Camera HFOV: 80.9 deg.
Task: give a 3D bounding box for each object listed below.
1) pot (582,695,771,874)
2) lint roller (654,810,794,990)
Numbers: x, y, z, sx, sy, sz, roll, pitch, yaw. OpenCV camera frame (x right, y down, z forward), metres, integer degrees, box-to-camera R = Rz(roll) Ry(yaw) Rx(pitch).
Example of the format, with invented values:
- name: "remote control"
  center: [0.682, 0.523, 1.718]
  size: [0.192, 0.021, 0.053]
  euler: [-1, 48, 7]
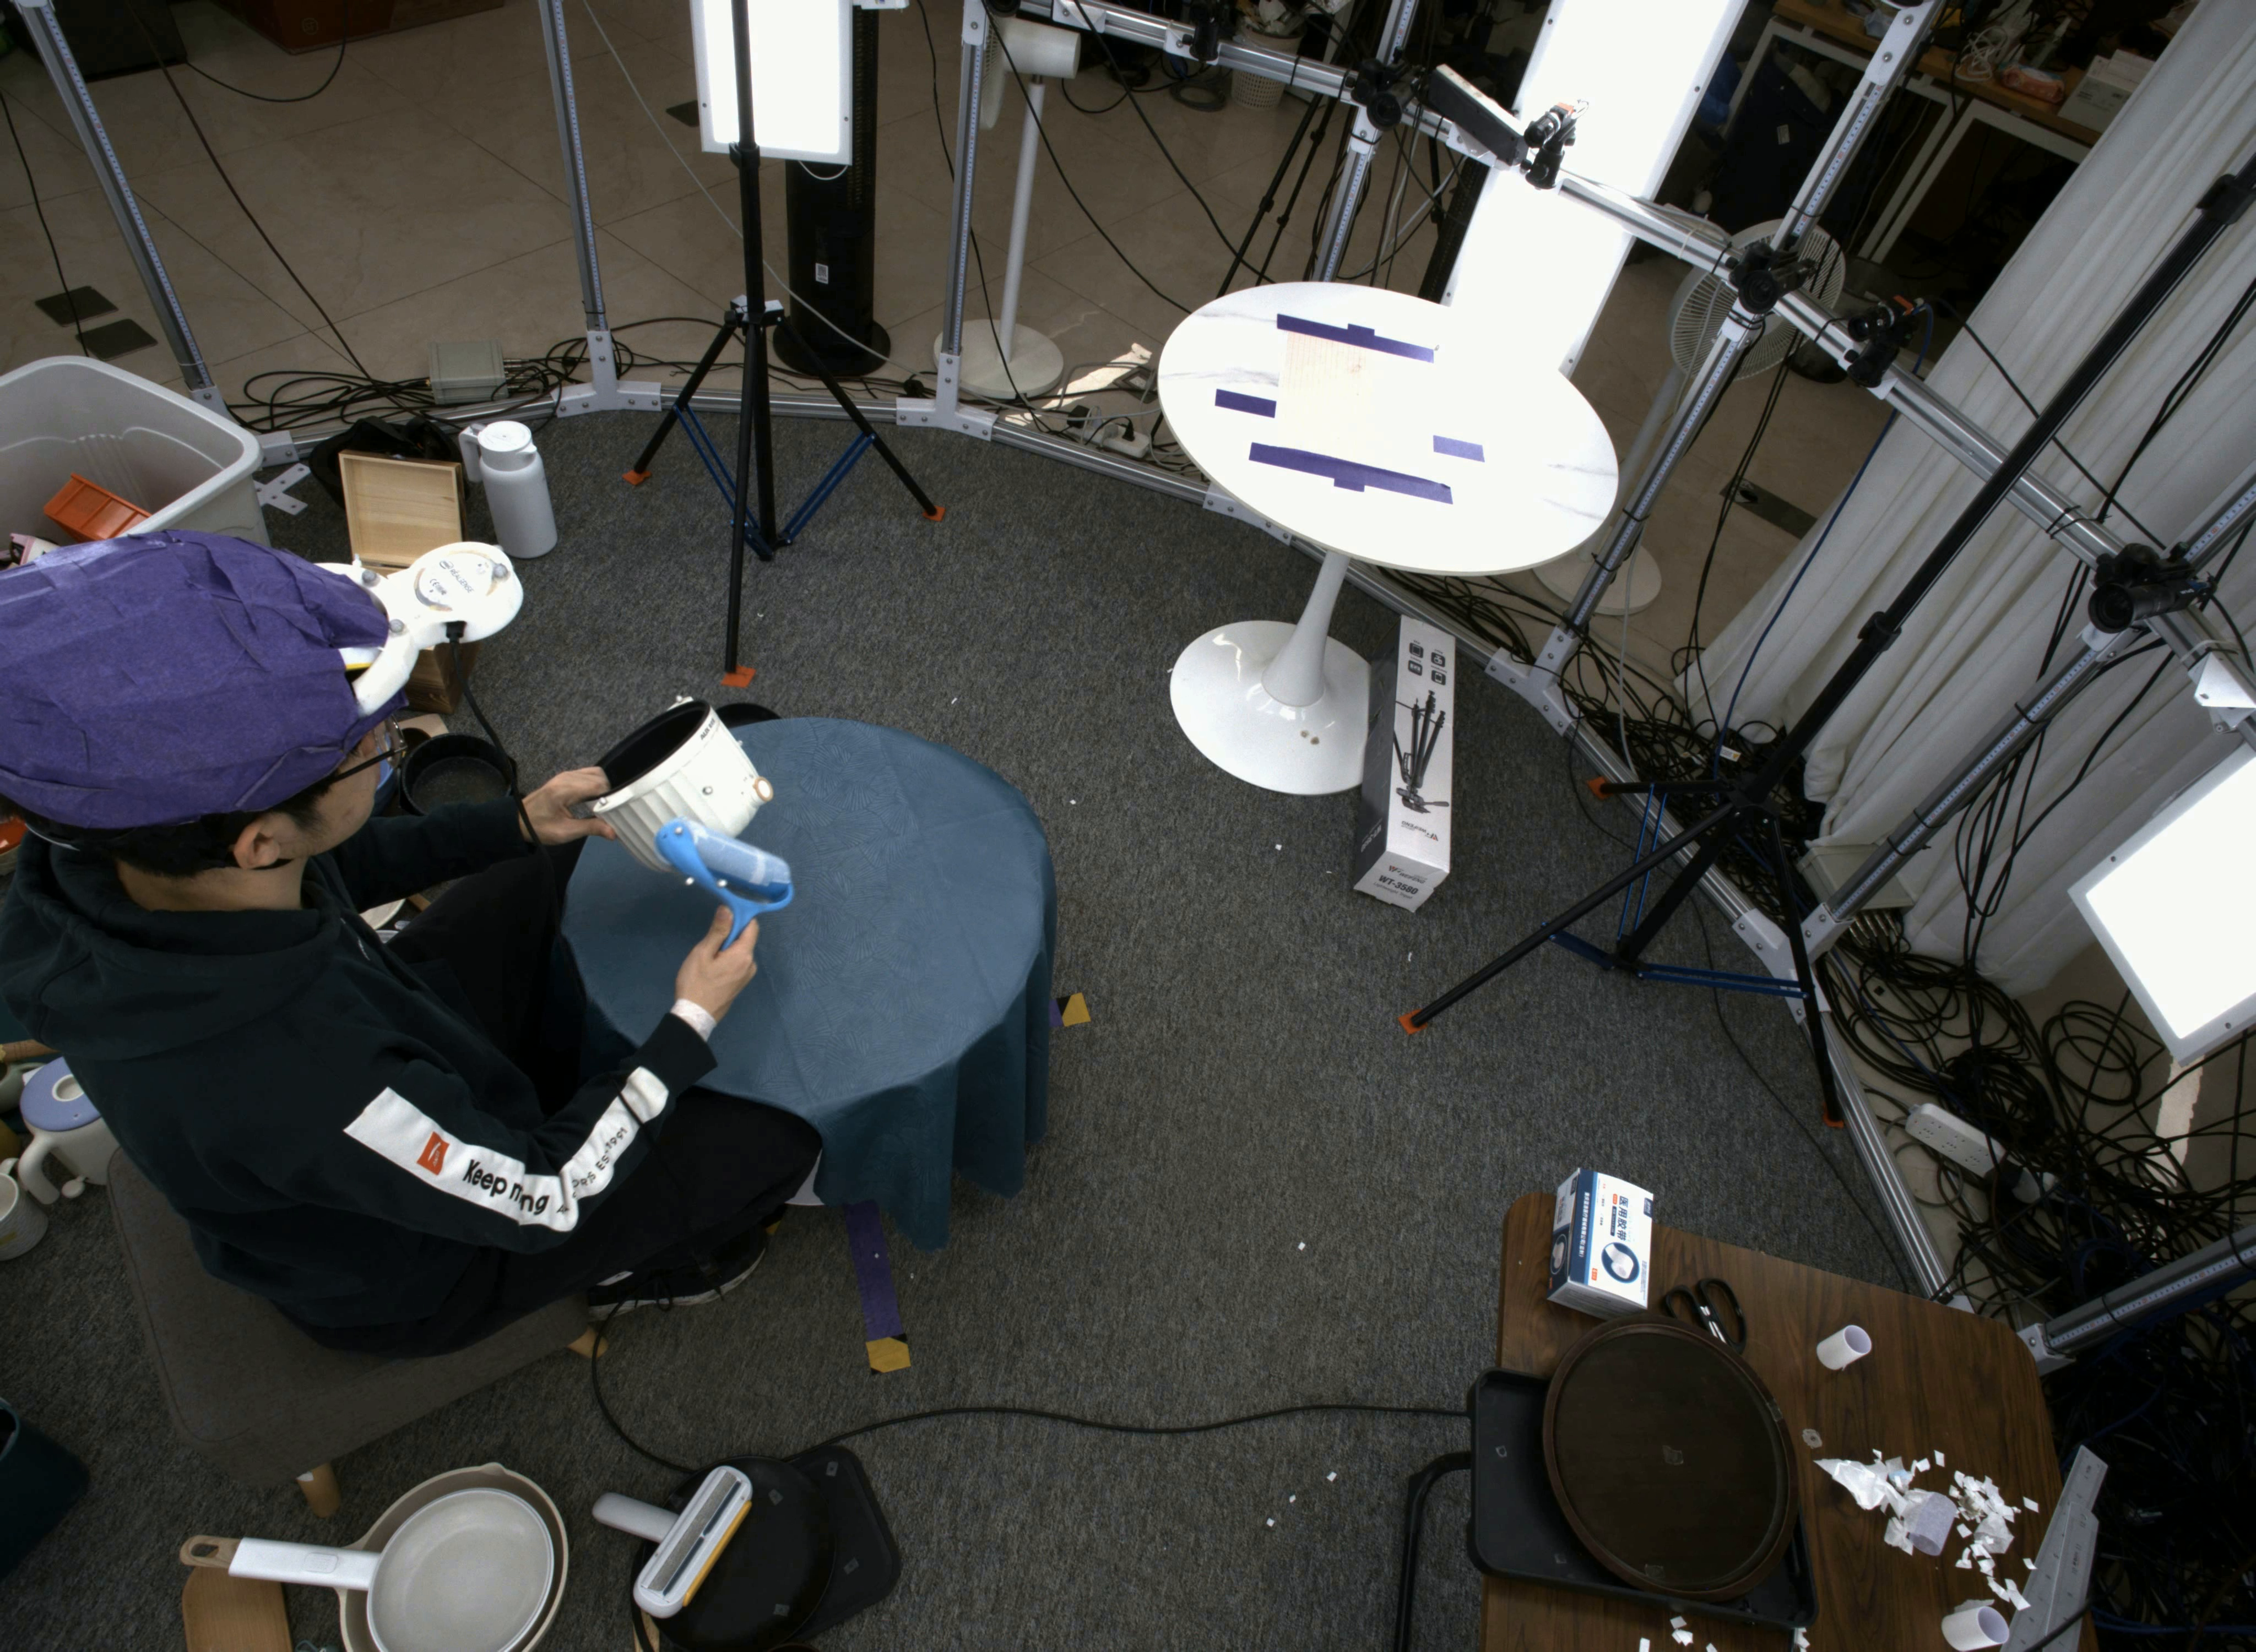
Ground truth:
- name: "pot"
  center: [-0.521, -0.045, 1.497]
  size: [0.187, 0.148, 0.236]
  euler: [-24, 31, 21]
- name: "lint roller"
  center: [-0.449, 0.088, 1.436]
  size: [0.066, 0.233, 0.181]
  euler: [-2, 80, 15]
